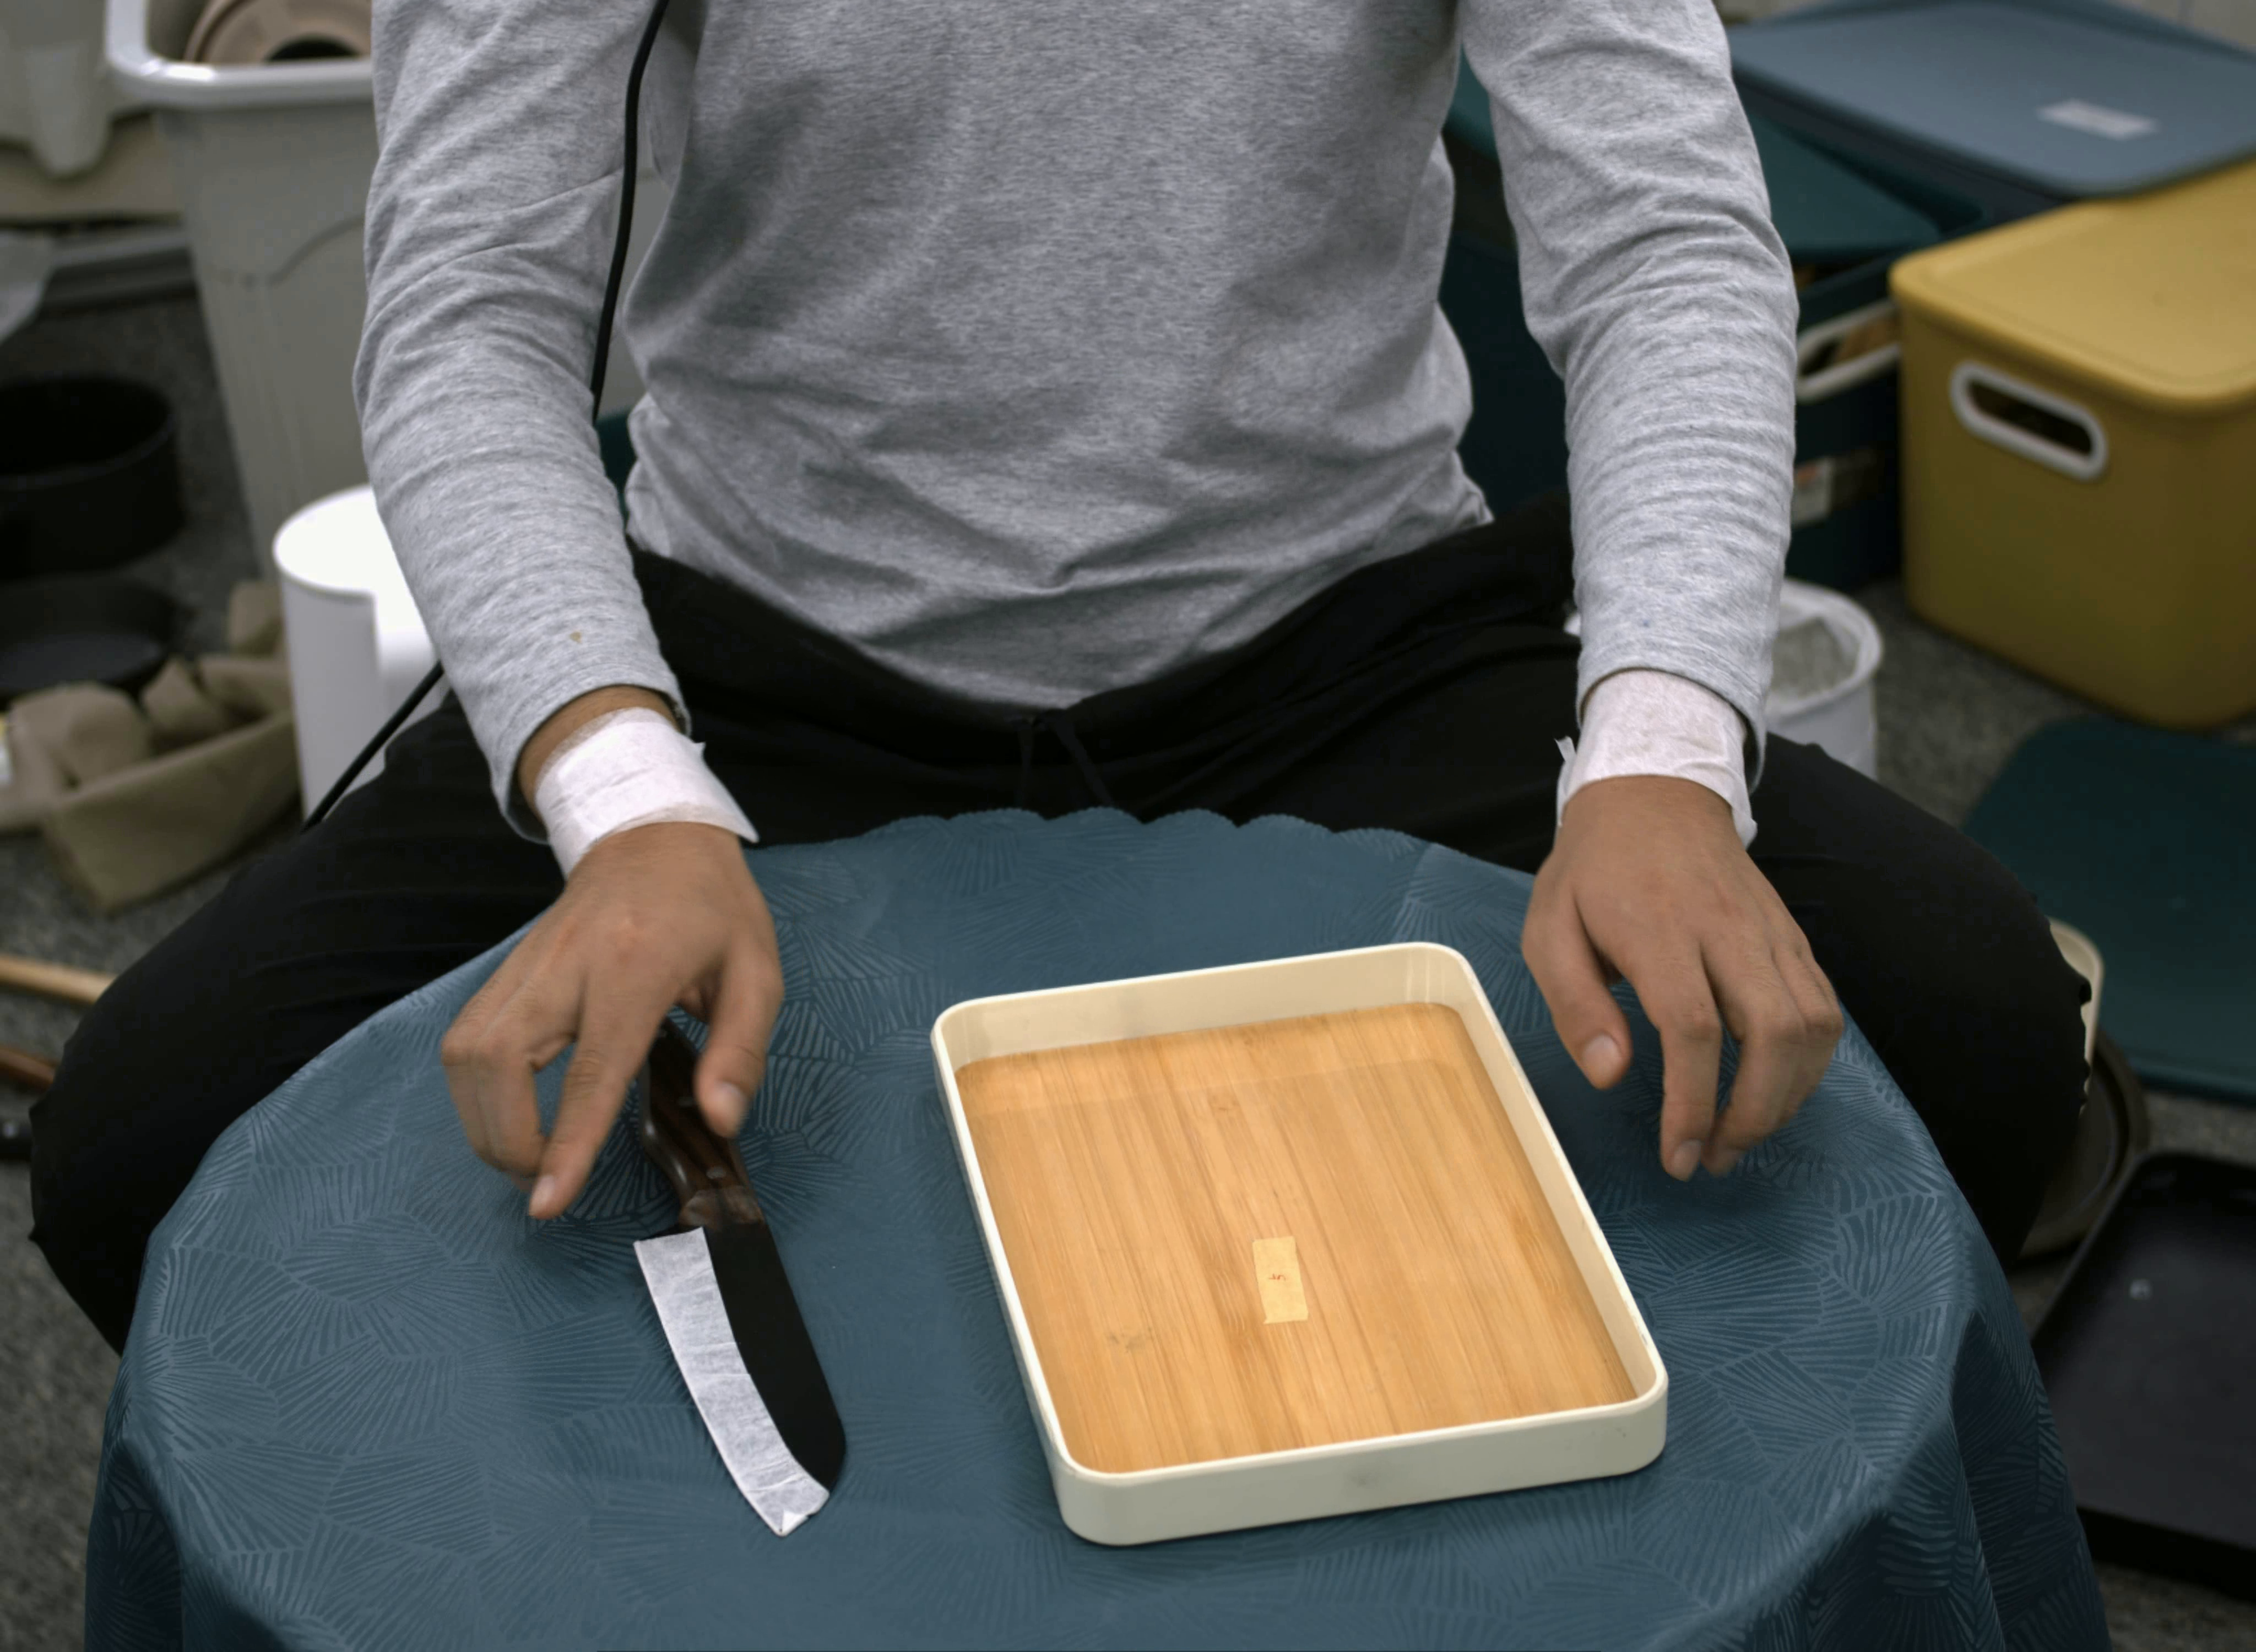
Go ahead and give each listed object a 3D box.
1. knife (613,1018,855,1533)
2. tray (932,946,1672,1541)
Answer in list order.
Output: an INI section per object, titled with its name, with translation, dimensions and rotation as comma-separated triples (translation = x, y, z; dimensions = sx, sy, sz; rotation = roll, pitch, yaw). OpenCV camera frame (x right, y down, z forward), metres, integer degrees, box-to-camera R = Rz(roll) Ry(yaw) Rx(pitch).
[knife]
translation = -0.132, 0.143, 1.815
dimensions = 0.050, 0.020, 0.292
rotation = -9, 31, -10
[tray]
translation = 0.049, 0.129, 1.815
dimensions = 0.191, 0.027, 0.304
rotation = -7, 27, -8
